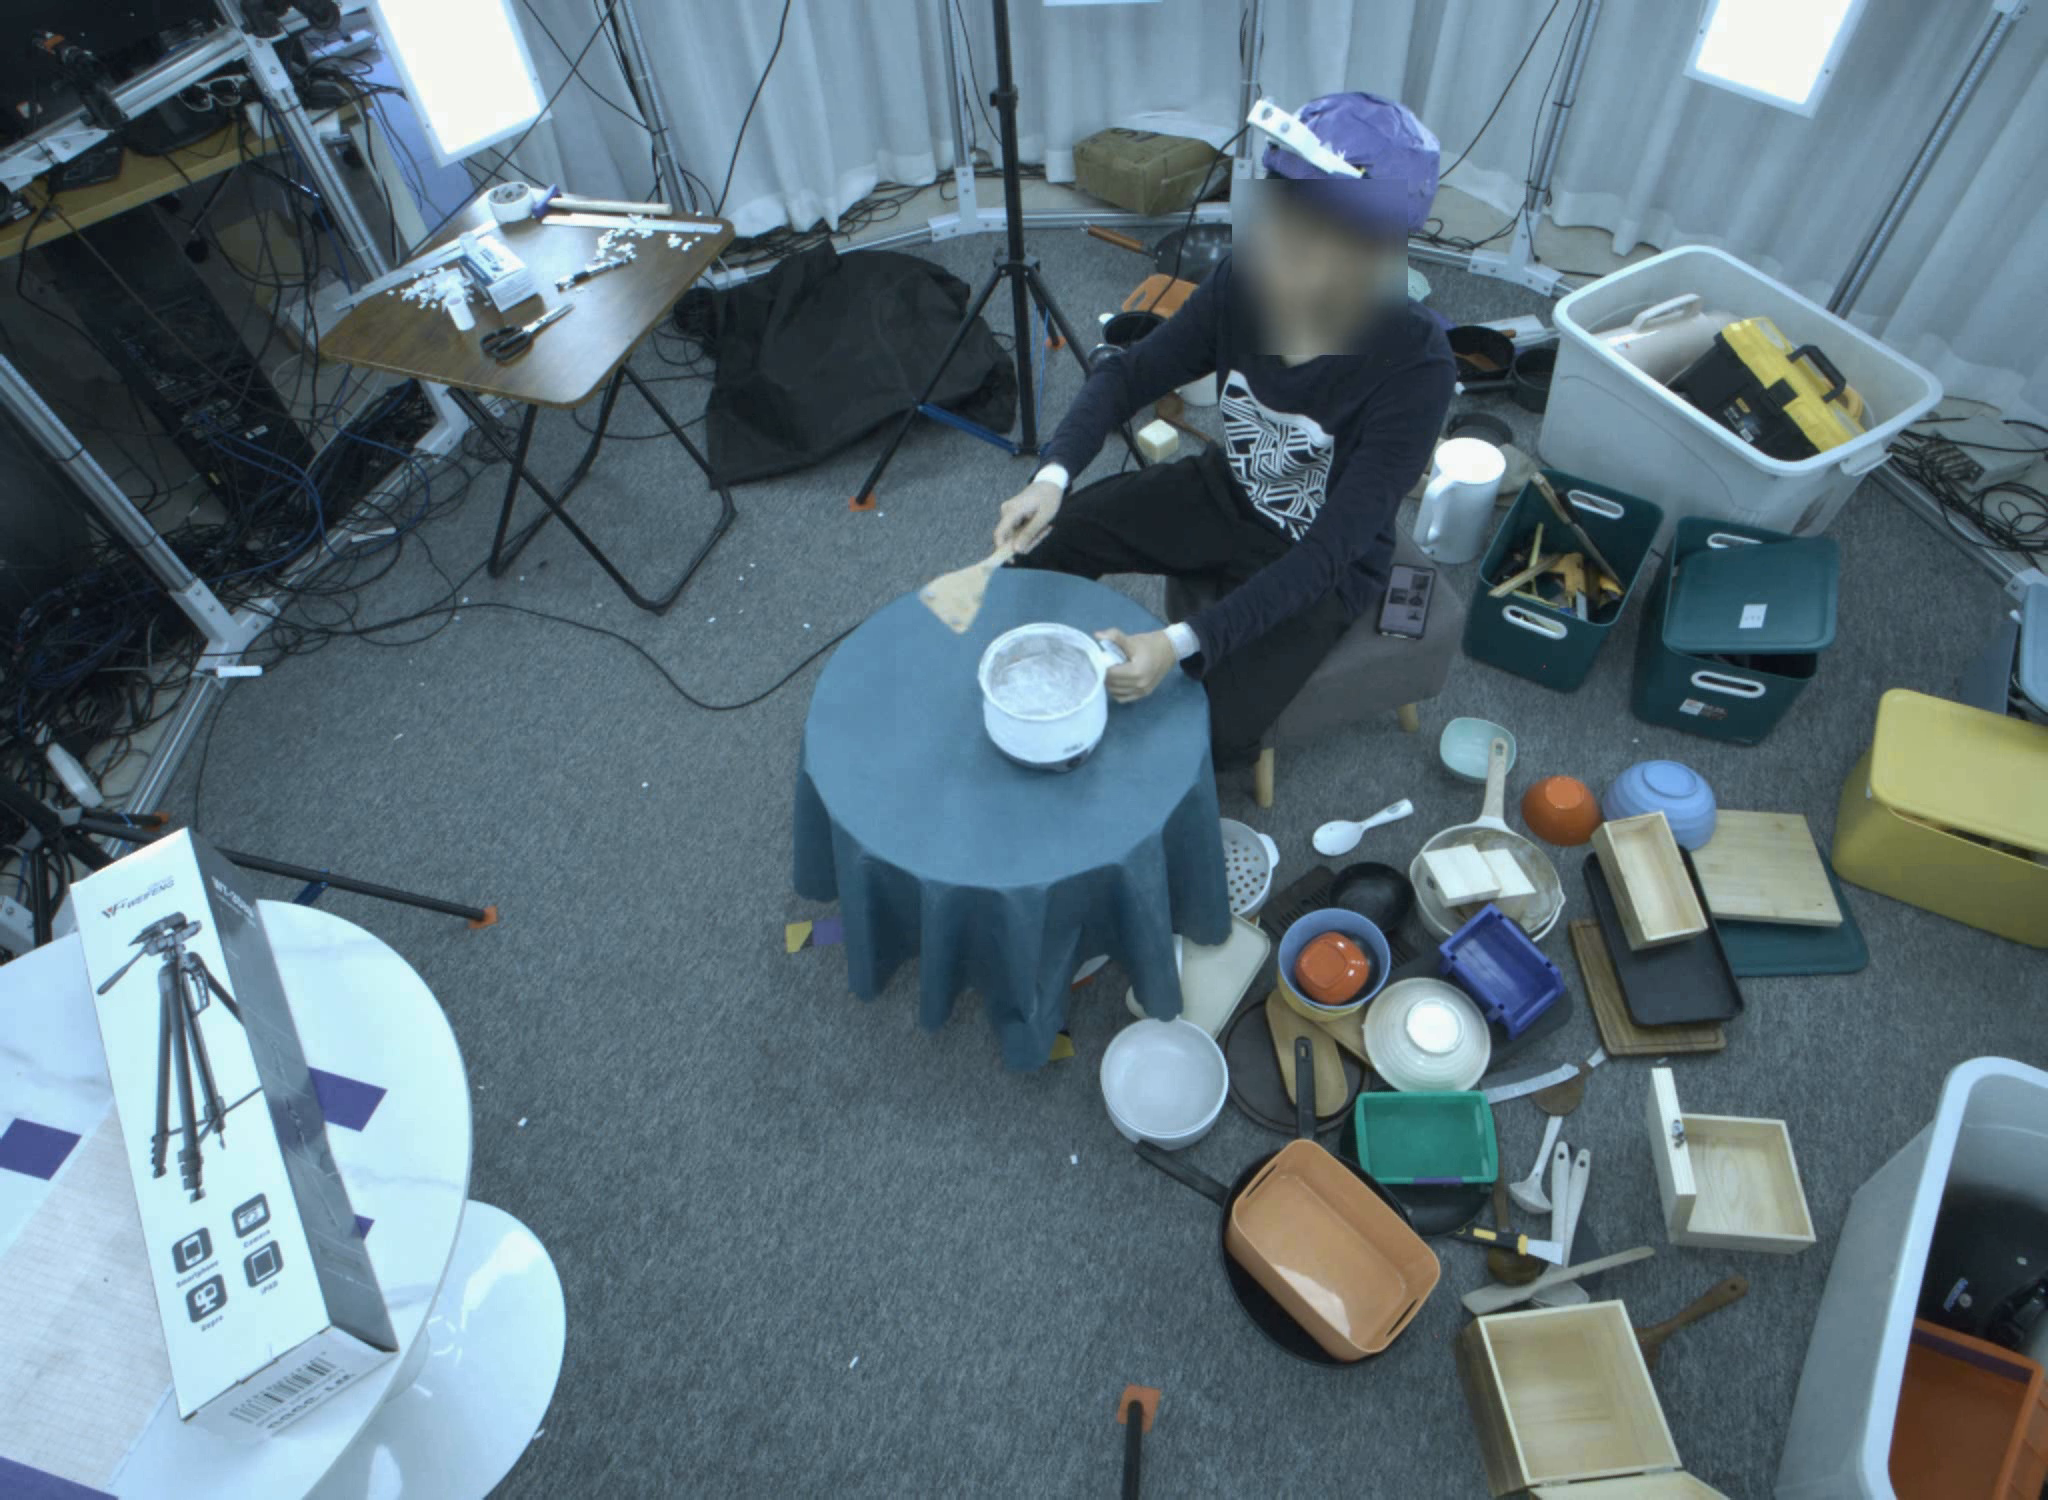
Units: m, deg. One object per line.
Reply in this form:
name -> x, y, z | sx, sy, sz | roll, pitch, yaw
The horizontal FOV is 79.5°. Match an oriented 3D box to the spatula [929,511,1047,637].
spatula -> -0.038, -0.263, 1.735 | 0.081, 0.016, 0.329 | 52, 43, -15

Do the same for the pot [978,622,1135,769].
pot -> 0.053, -0.087, 1.767 | 0.235, 0.138, 0.175 | -26, 59, -14
